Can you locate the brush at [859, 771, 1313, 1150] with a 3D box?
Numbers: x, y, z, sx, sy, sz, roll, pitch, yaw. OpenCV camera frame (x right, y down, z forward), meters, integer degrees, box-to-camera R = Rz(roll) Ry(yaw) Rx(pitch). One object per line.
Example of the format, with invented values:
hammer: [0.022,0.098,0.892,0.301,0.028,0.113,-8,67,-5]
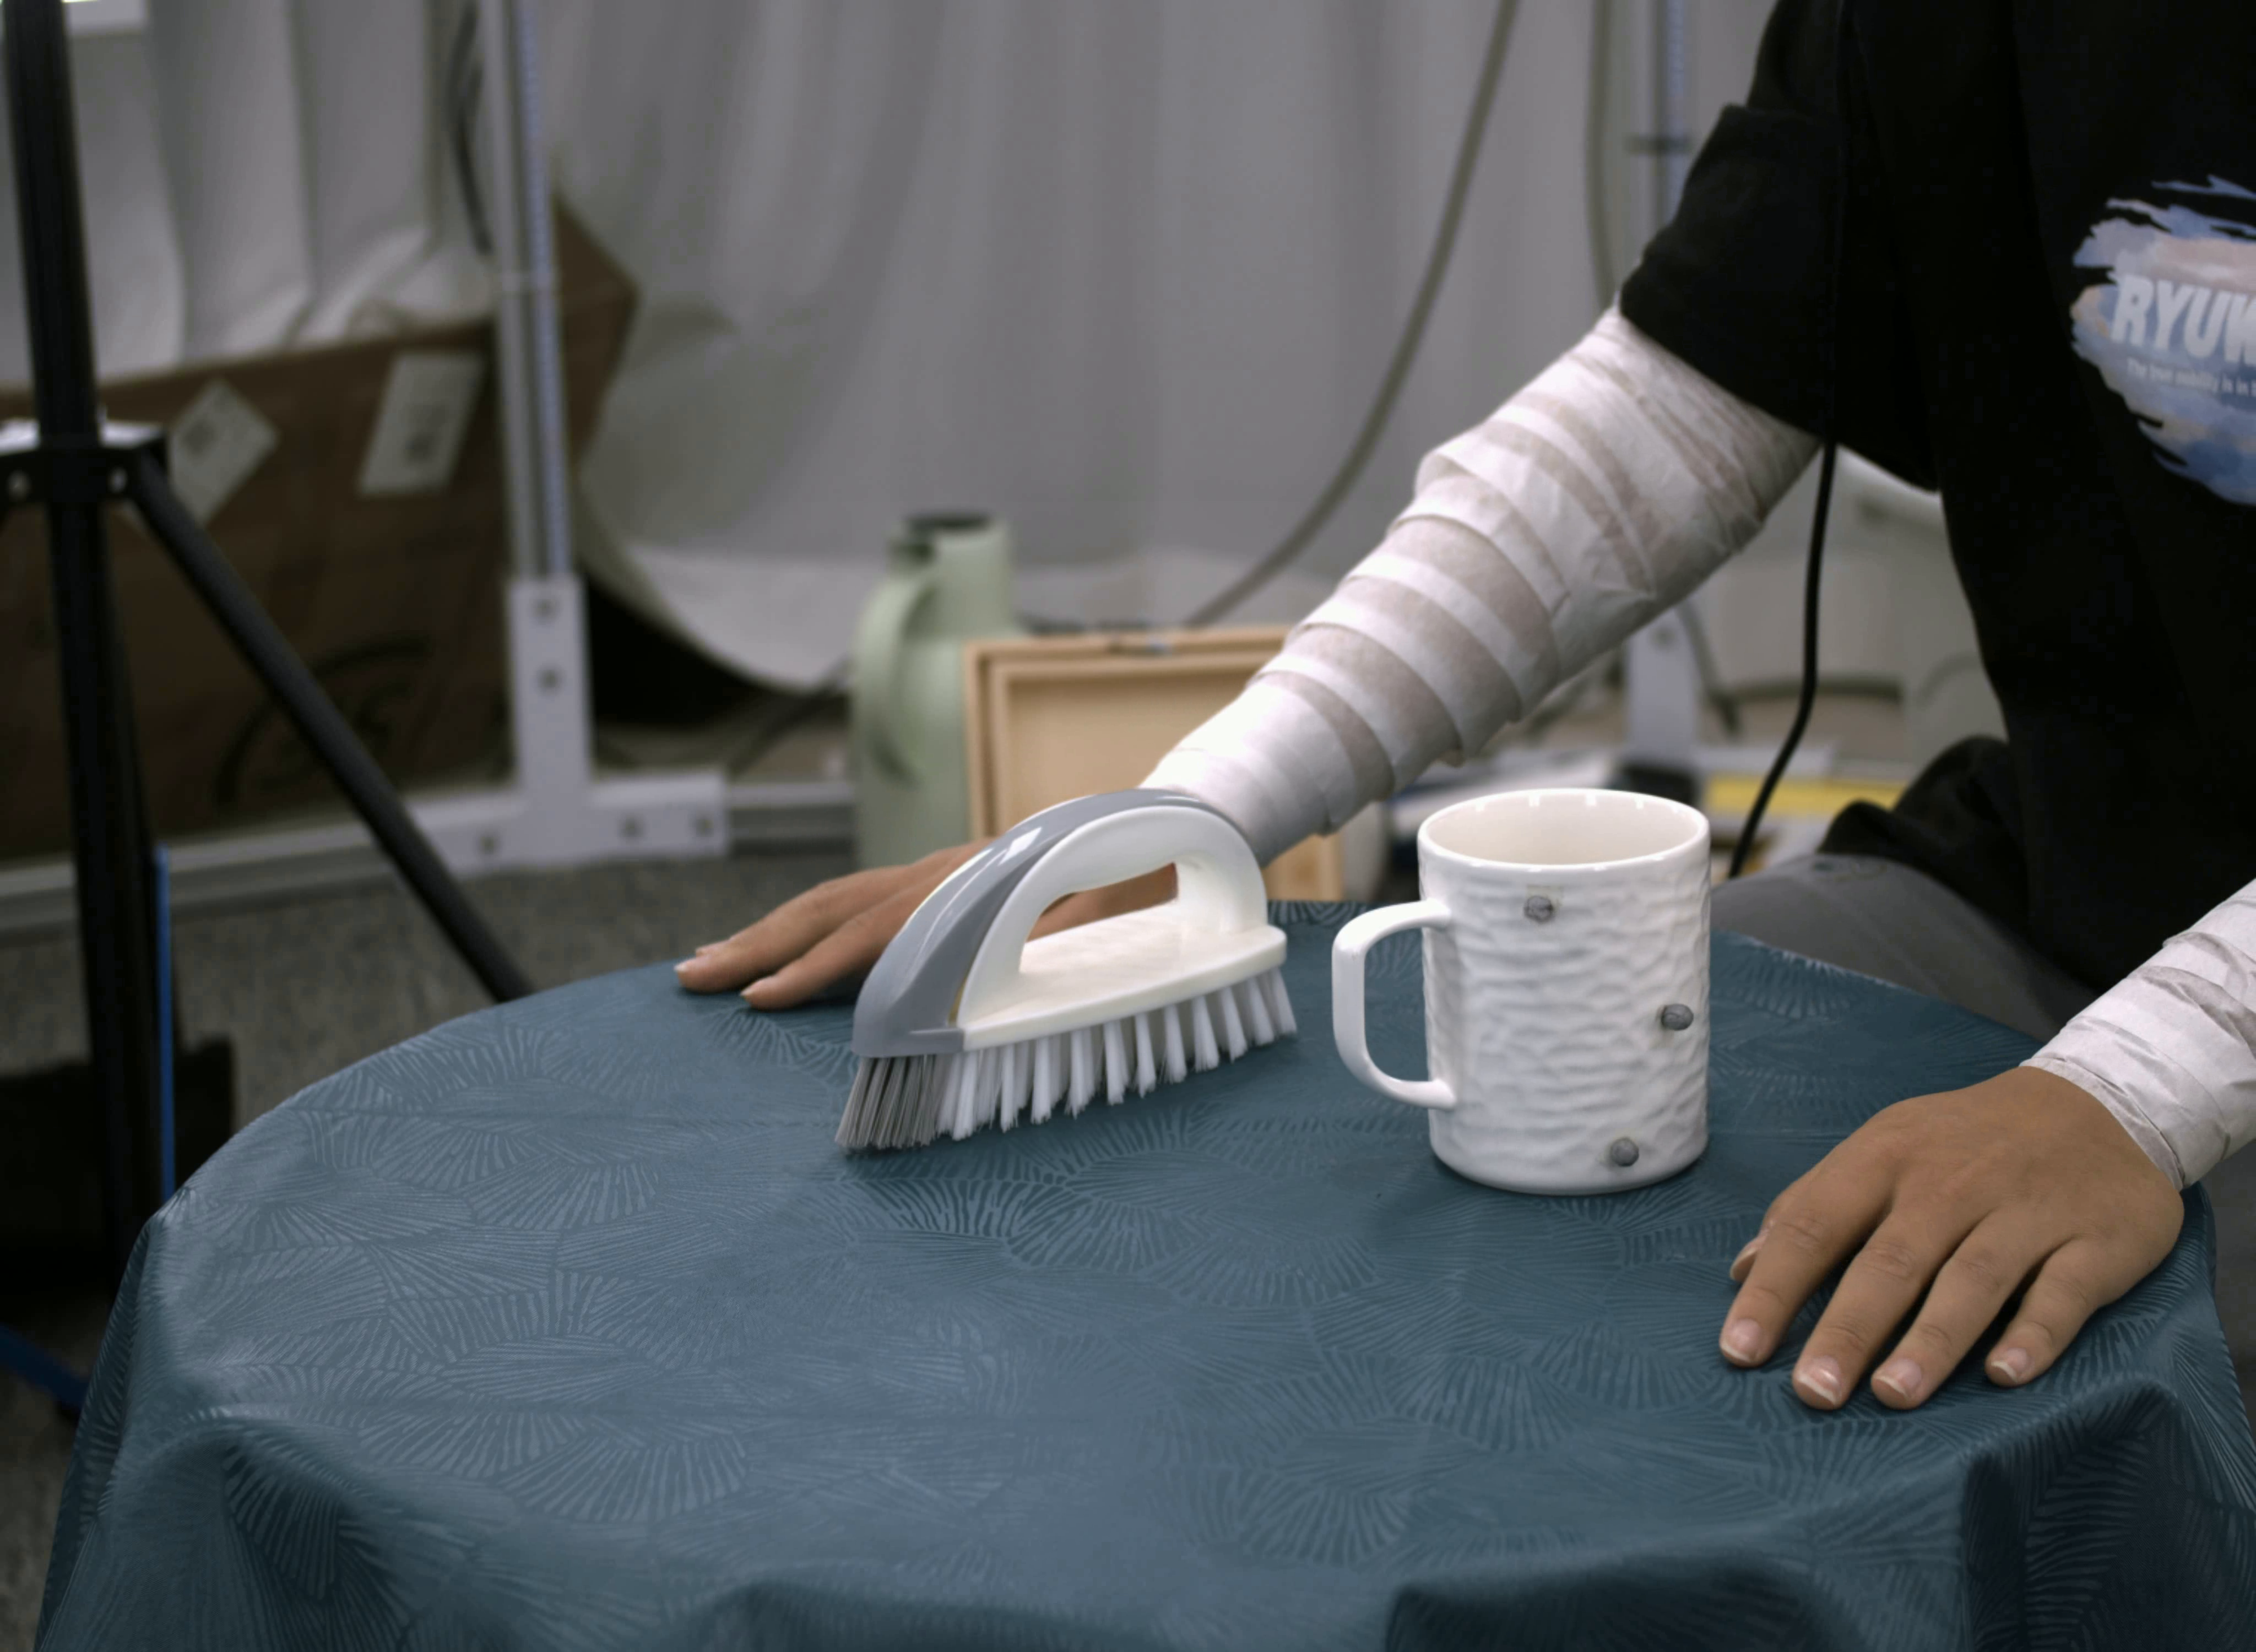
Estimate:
brush: [-0.021,0.038,1.643,0.171,0.094,0.063,-18,17,-40]

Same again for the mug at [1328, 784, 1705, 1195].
mug: [0.114,0.051,1.556,0.116,0.102,0.086,-10,17,-24]
